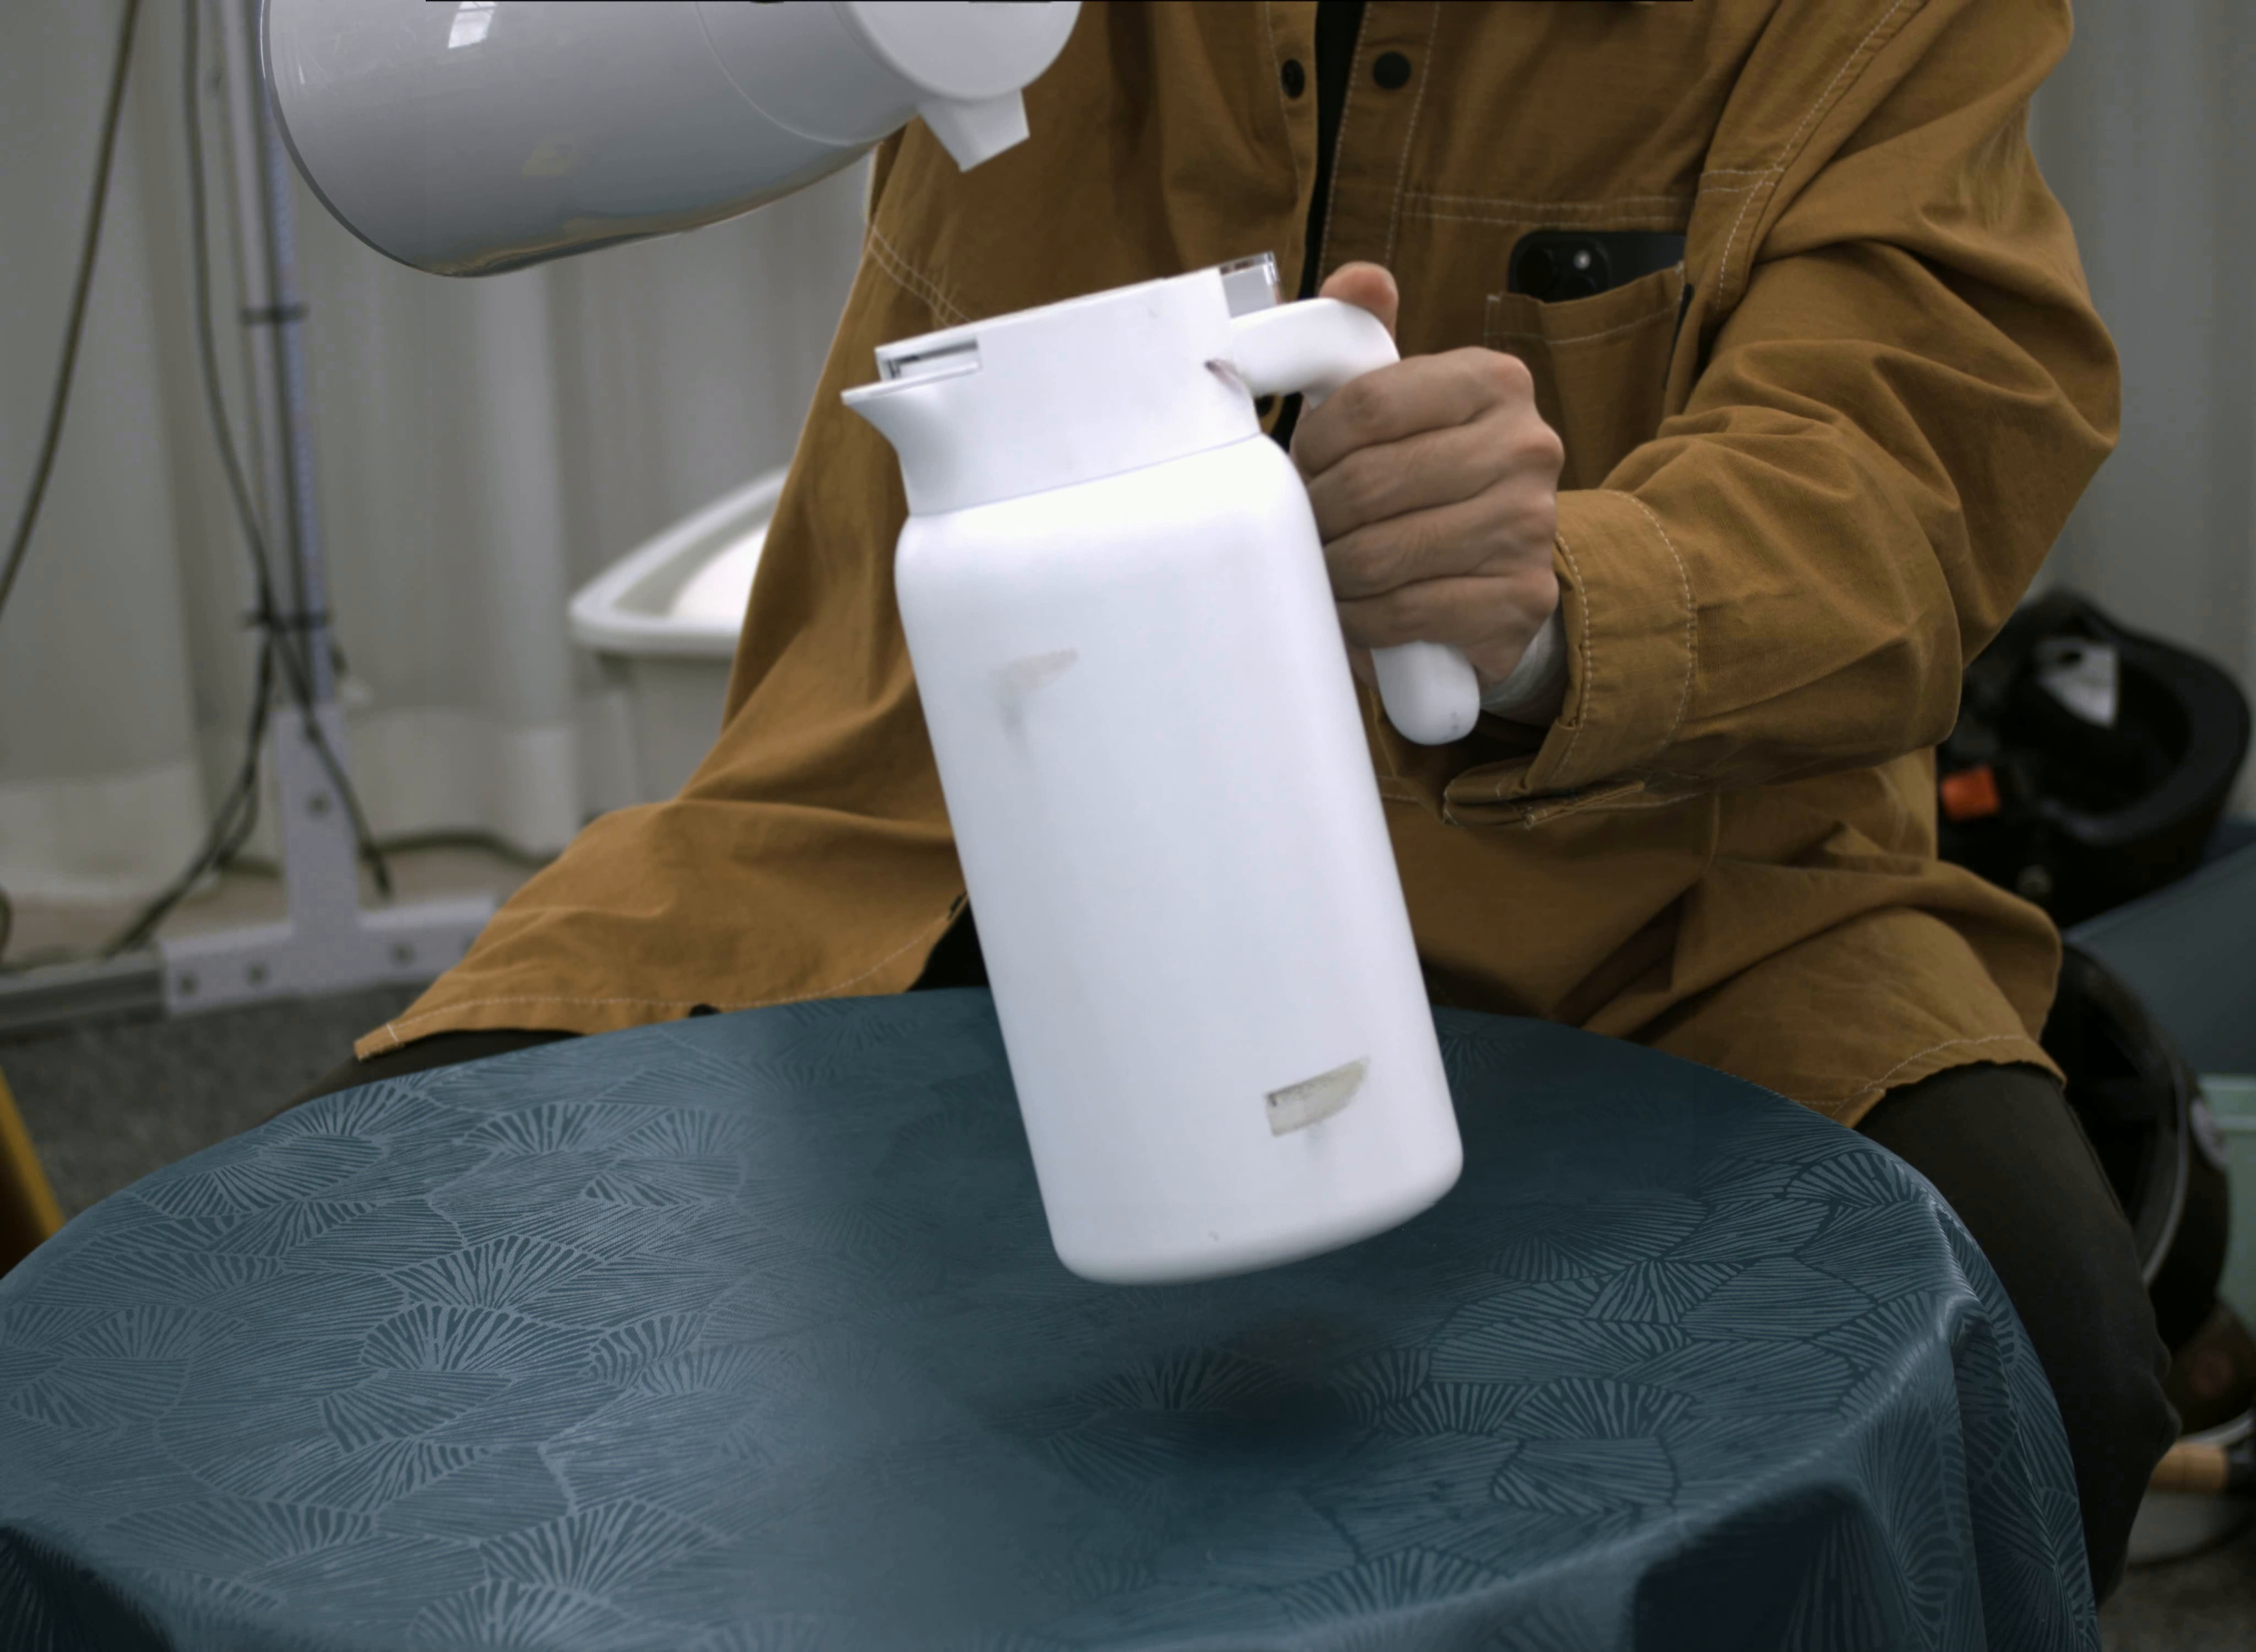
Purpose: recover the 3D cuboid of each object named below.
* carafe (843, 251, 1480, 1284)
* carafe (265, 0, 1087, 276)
[{"bbox_3d":[0.022,-0.020,1.516,0.172,0.269,0.124,-16,4,-32],"label":"carafe"},{"bbox_3d":[-0.128,-0.253,1.548,0.249,0.167,0.133,-5,21,48],"label":"carafe"}]
